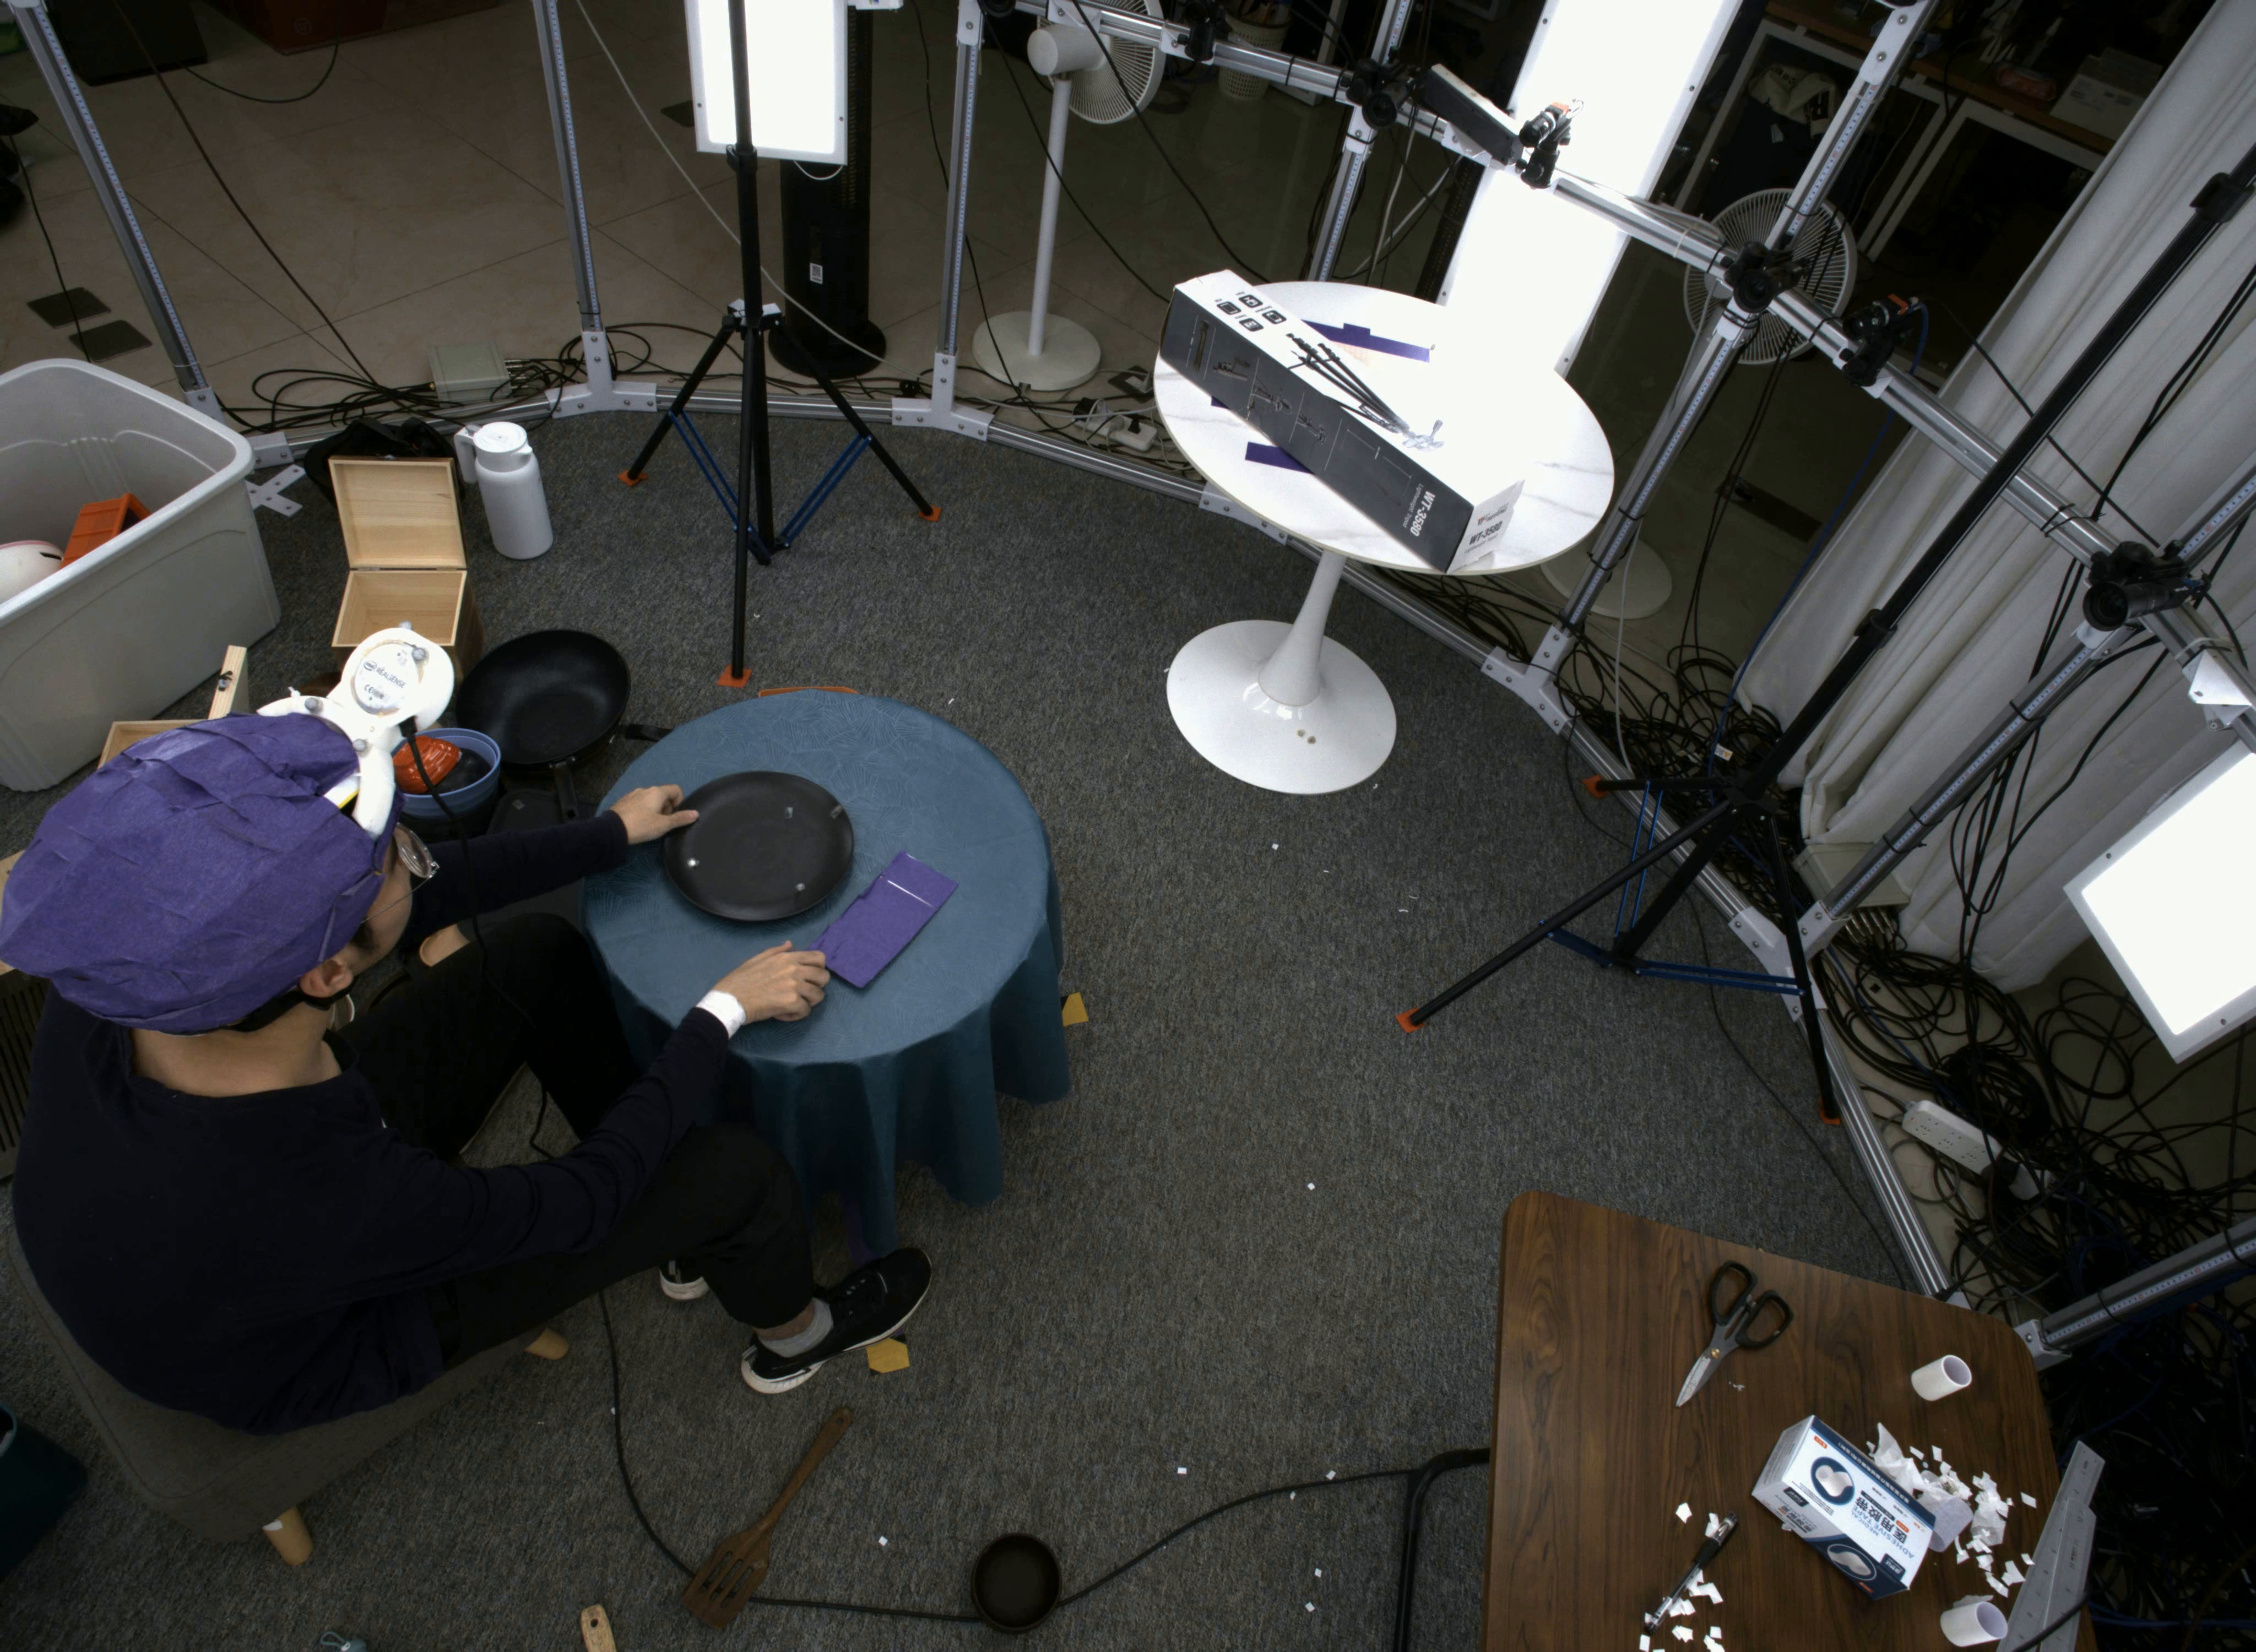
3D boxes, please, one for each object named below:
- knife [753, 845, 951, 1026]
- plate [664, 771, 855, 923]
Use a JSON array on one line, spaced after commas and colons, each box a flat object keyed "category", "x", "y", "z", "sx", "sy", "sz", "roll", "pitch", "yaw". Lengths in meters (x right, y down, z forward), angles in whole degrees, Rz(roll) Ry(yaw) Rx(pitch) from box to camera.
[{"category": "knife", "x": -0.337, "y": 0.143, "z": 1.634, "sx": 0.102, "sy": 0.033, "sz": 0.314, "roll": 30, "pitch": 52, "yaw": 9}, {"category": "plate", "x": -0.479, "y": 0.028, "z": 1.685, "sx": 0.244, "sy": 0.024, "sz": 0.240, "roll": 8, "pitch": 53, "yaw": -9}]
